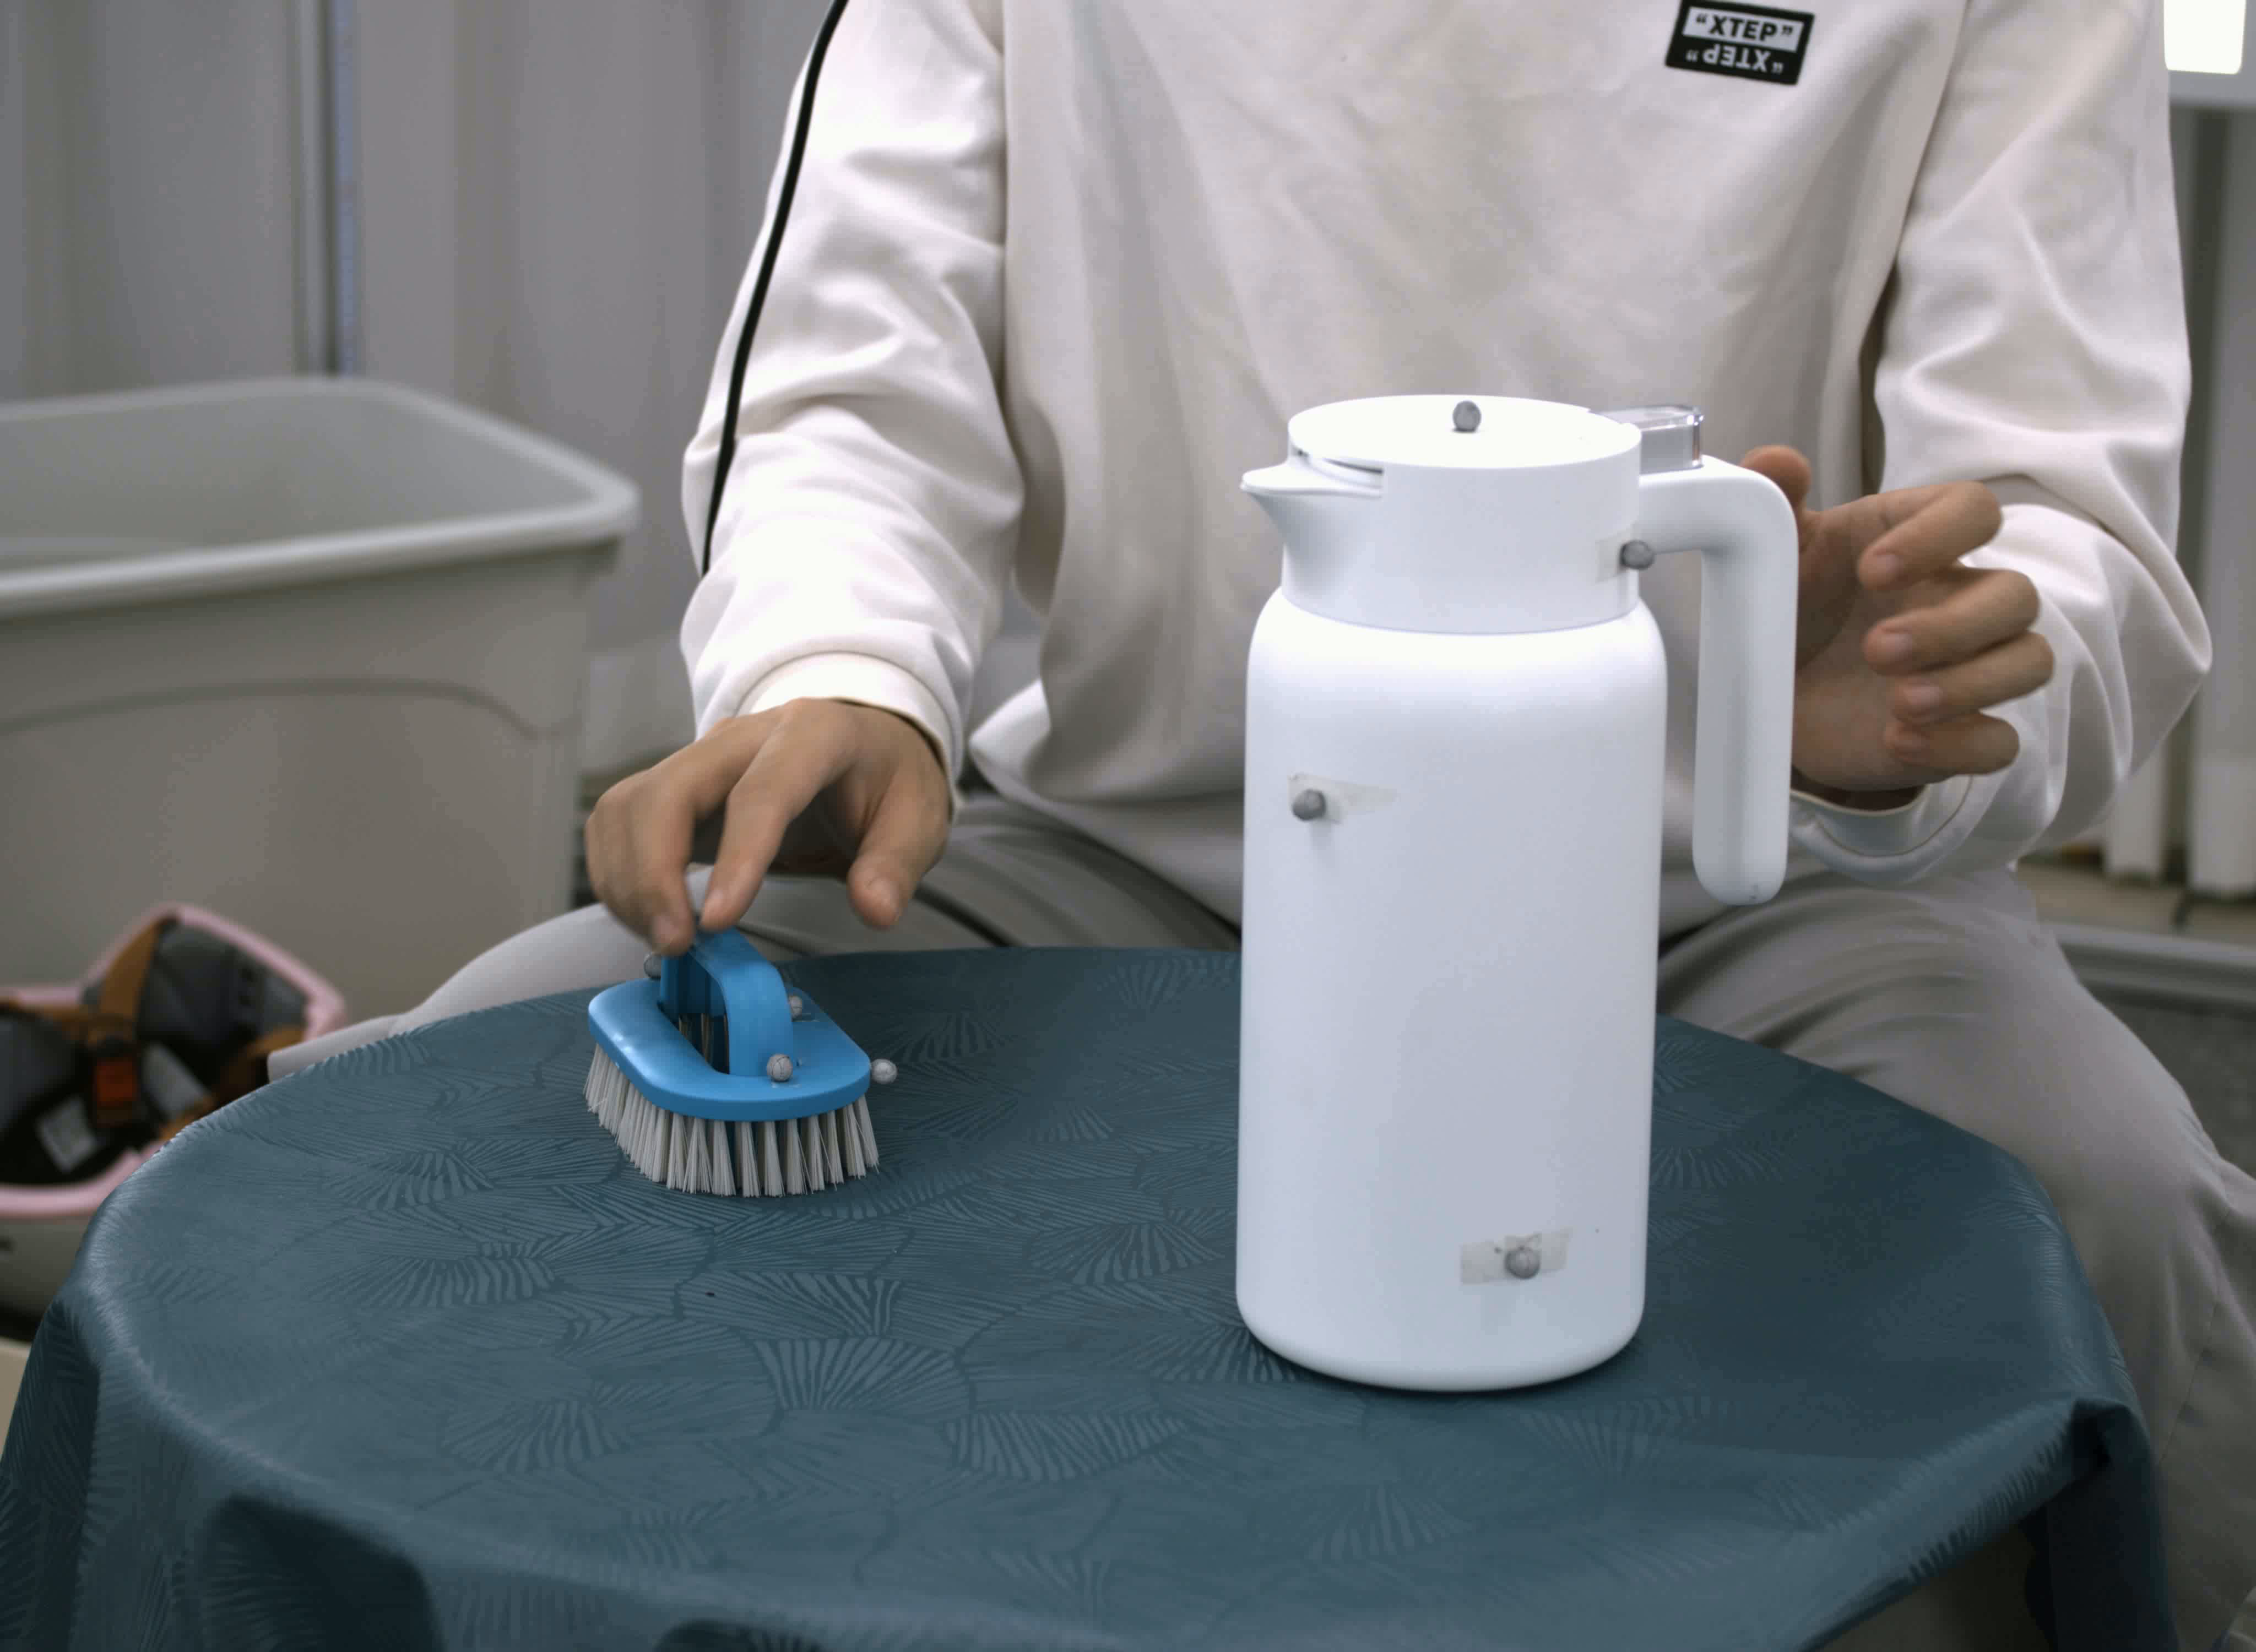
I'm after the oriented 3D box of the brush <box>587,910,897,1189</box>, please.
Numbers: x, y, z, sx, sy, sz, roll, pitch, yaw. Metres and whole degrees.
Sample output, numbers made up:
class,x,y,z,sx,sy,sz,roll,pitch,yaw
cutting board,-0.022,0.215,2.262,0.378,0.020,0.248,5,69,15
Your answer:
class,x,y,z,sx,sy,sz,roll,pitch,yaw
brush,-0.126,0.065,1.674,0.084,0.064,0.140,-9,17,-16

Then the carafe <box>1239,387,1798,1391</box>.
class,x,y,z,sx,sy,sz,roll,pitch,yaw
carafe,0.106,0.015,1.488,0.173,0.271,0.122,-7,16,-27
